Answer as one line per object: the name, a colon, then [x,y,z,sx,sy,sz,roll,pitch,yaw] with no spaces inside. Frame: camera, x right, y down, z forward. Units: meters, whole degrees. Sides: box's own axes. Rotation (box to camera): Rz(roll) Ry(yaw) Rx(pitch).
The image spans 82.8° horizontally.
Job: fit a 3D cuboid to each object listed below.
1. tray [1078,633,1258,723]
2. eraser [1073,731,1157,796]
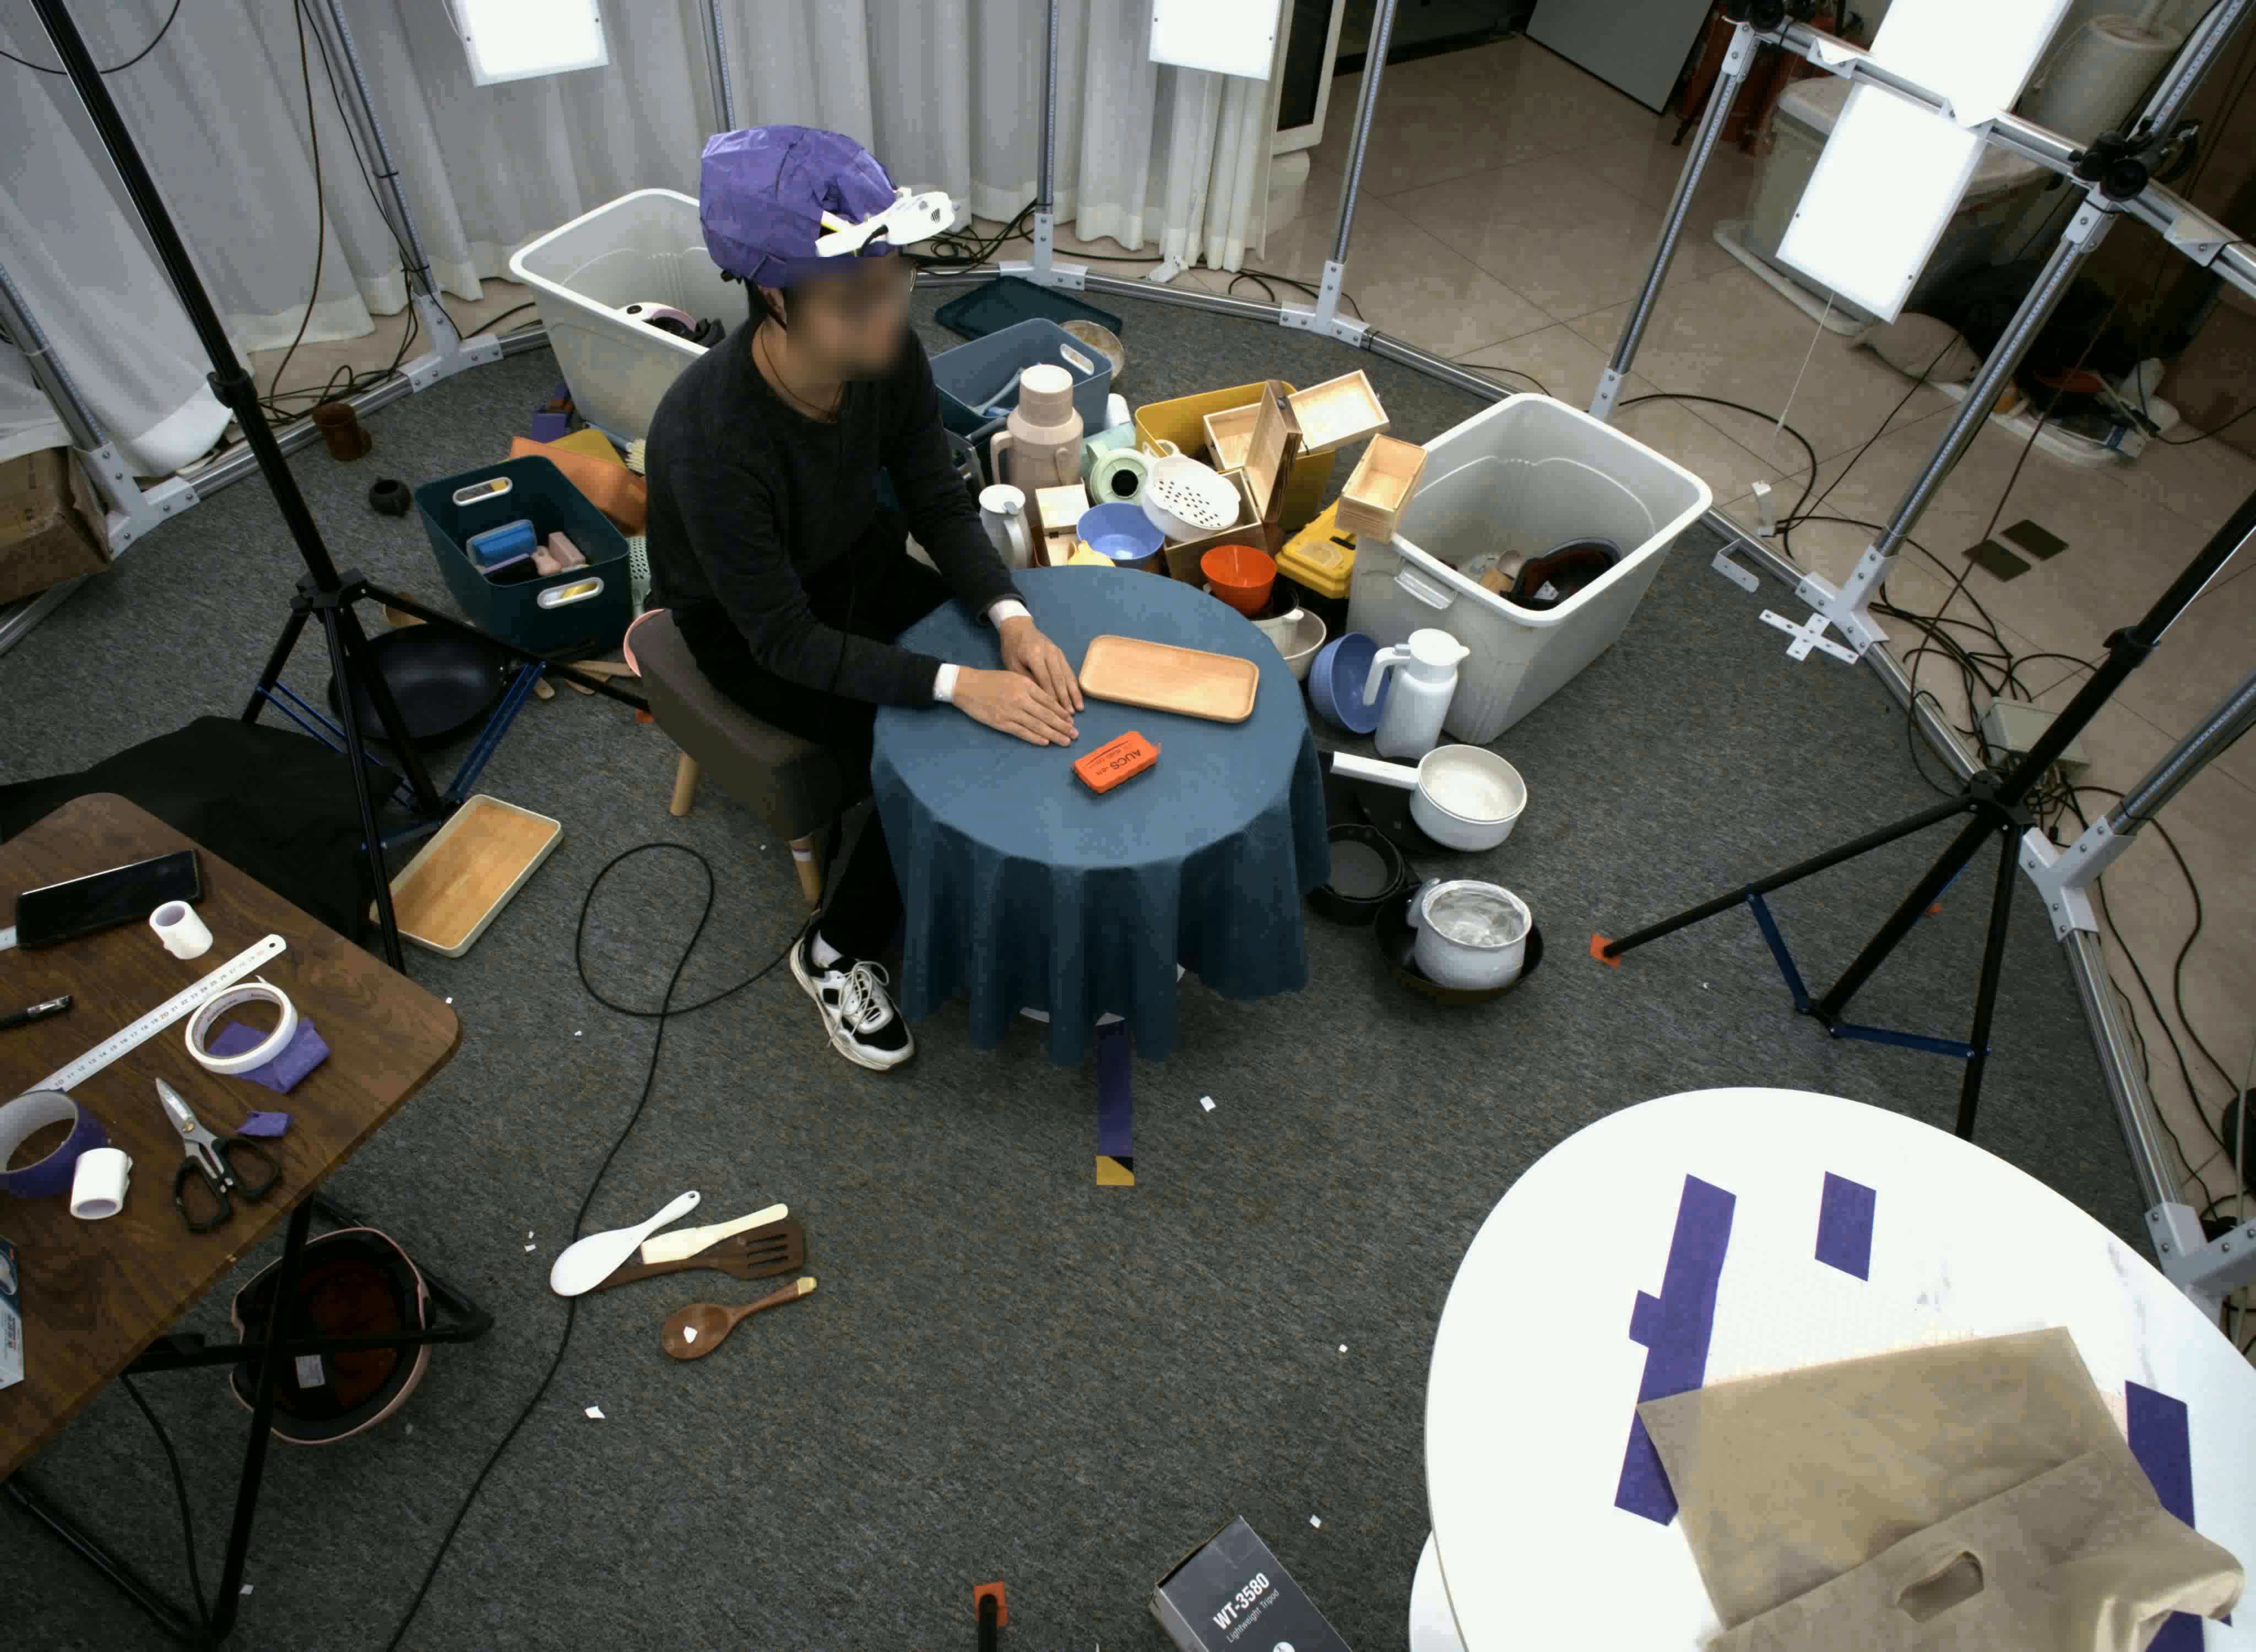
tray: [0.059,-0.213,1.848,0.251,0.022,0.133,11,47,7]
eraser: [-0.017,-0.085,1.727,0.108,0.022,0.060,-29,56,-26]
